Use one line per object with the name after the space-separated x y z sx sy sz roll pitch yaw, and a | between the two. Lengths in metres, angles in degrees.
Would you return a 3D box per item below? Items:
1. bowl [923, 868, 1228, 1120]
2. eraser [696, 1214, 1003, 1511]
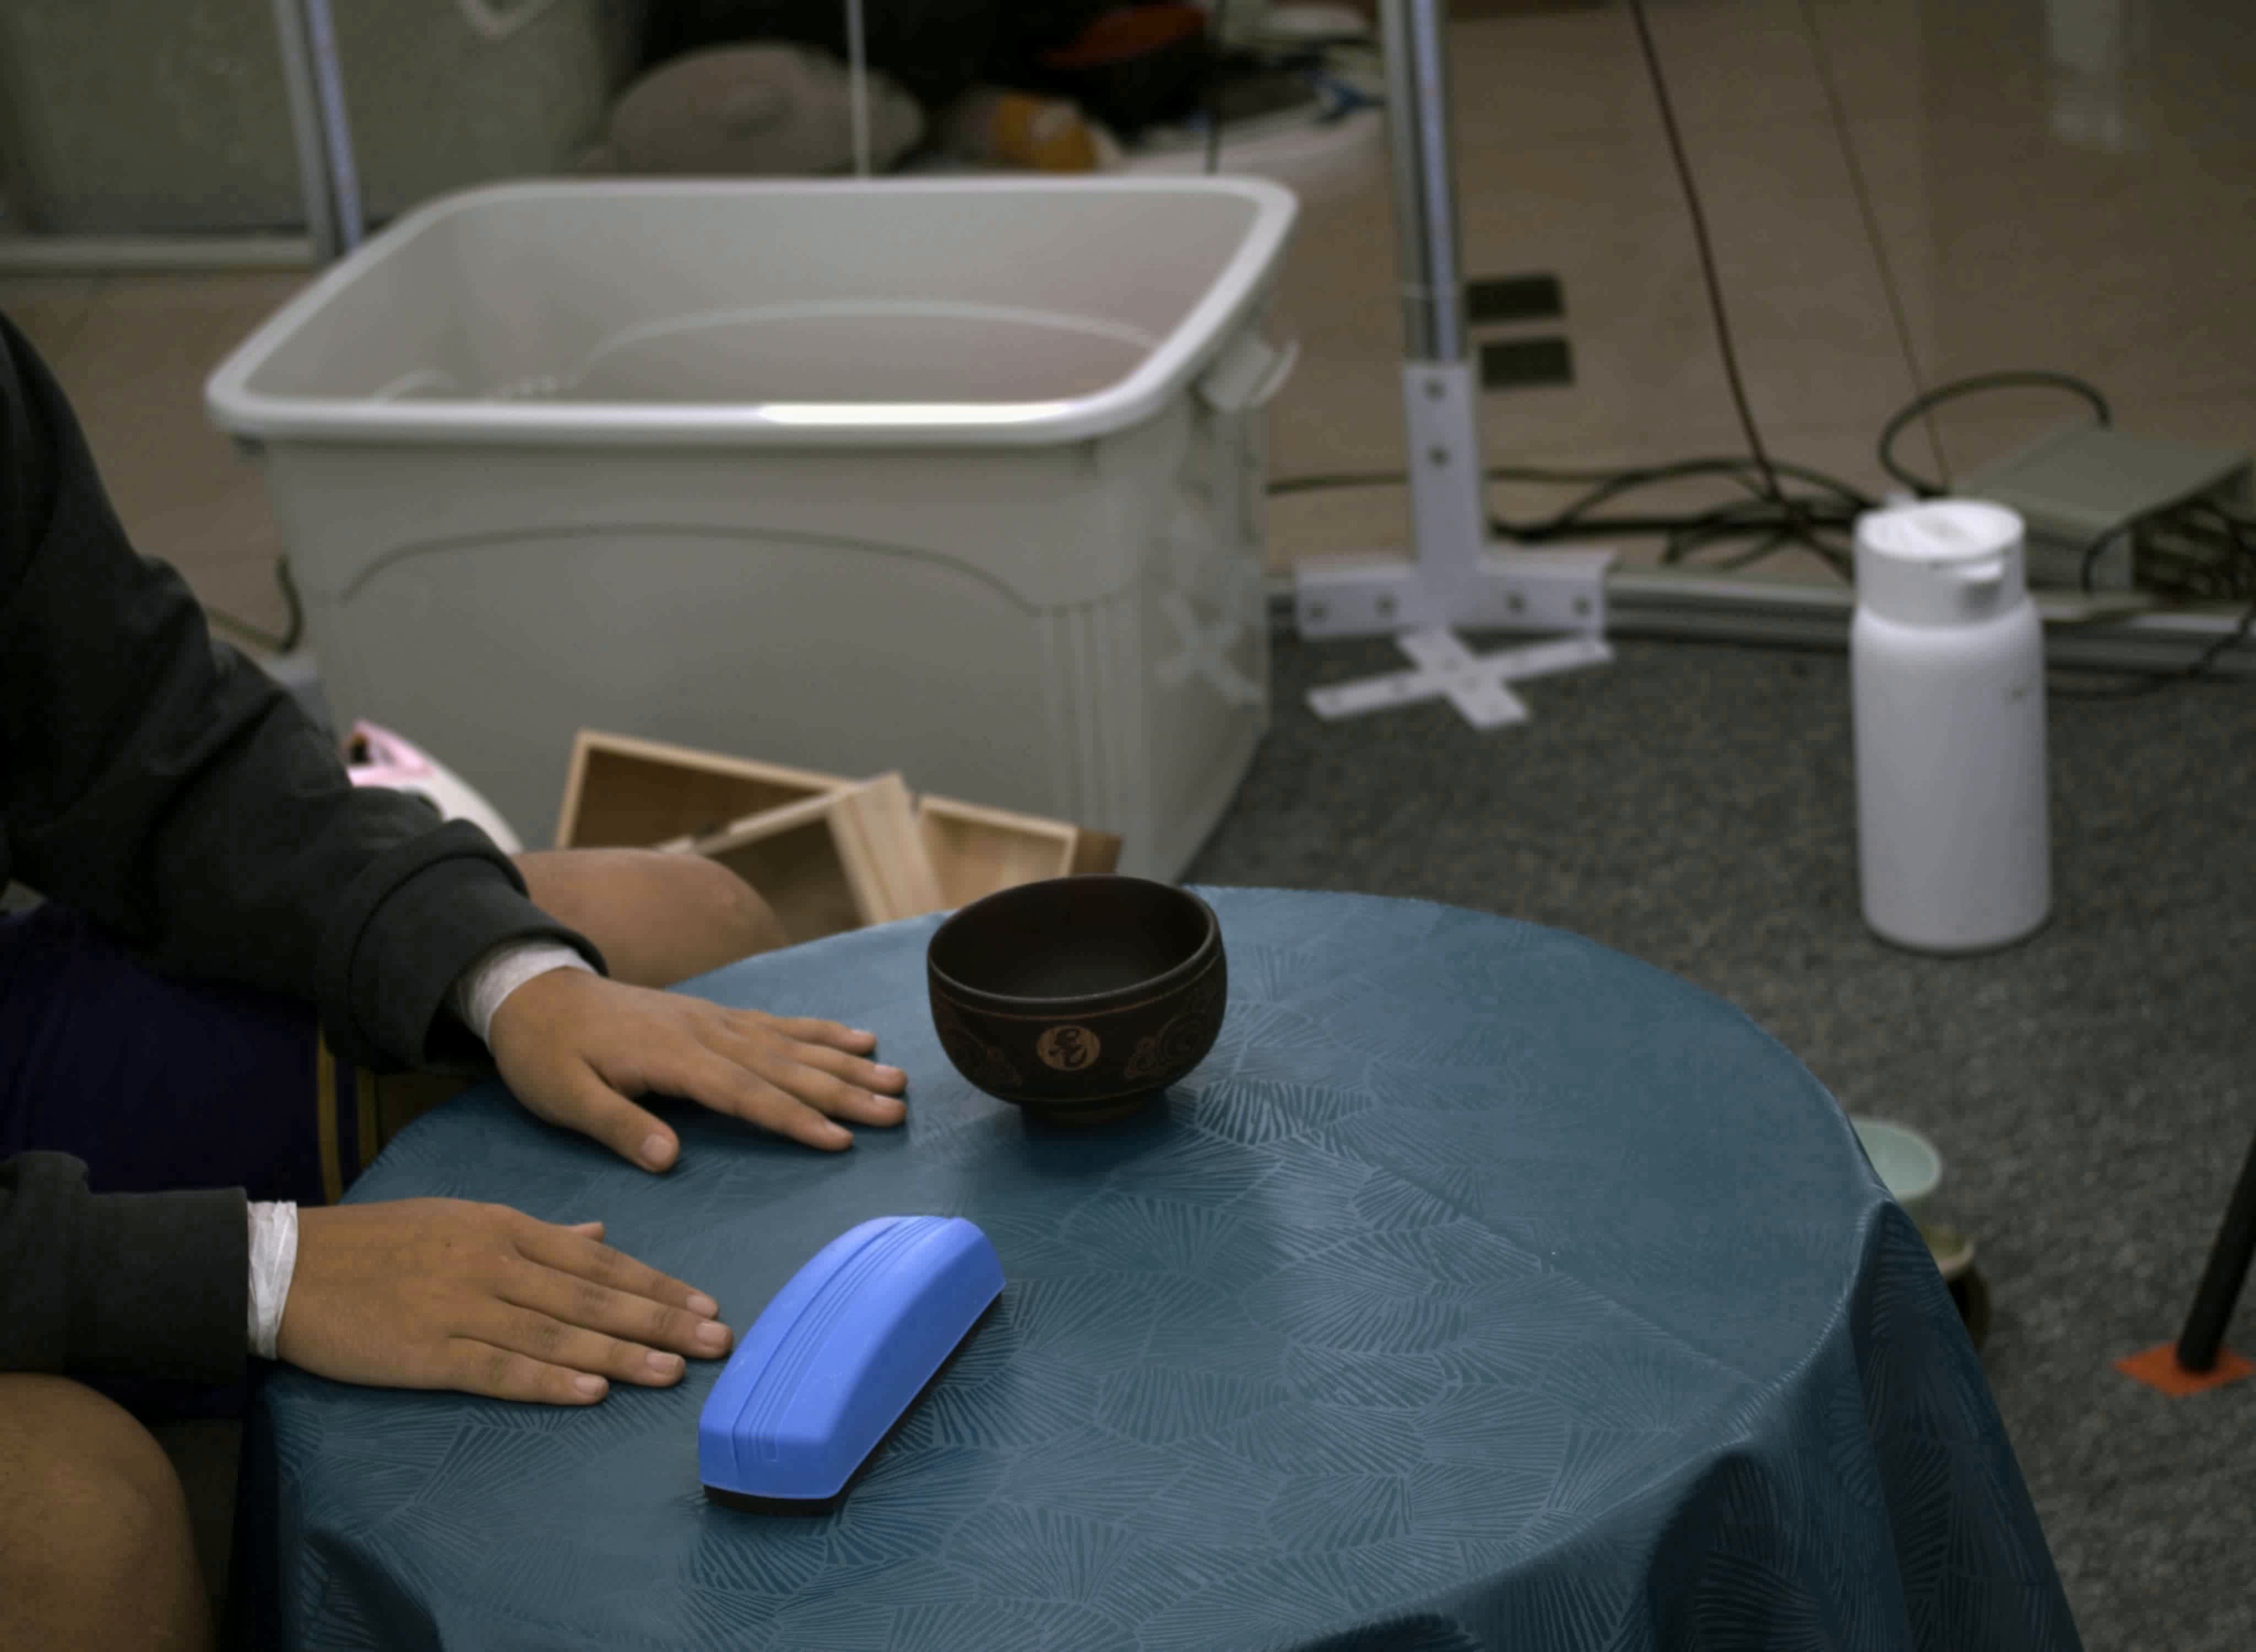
-0.018 0.071 2.208 0.118 0.071 0.116 -6 26 3 | bowl
-0.098 0.184 2.019 0.053 0.048 0.160 5 27 22 | eraser
